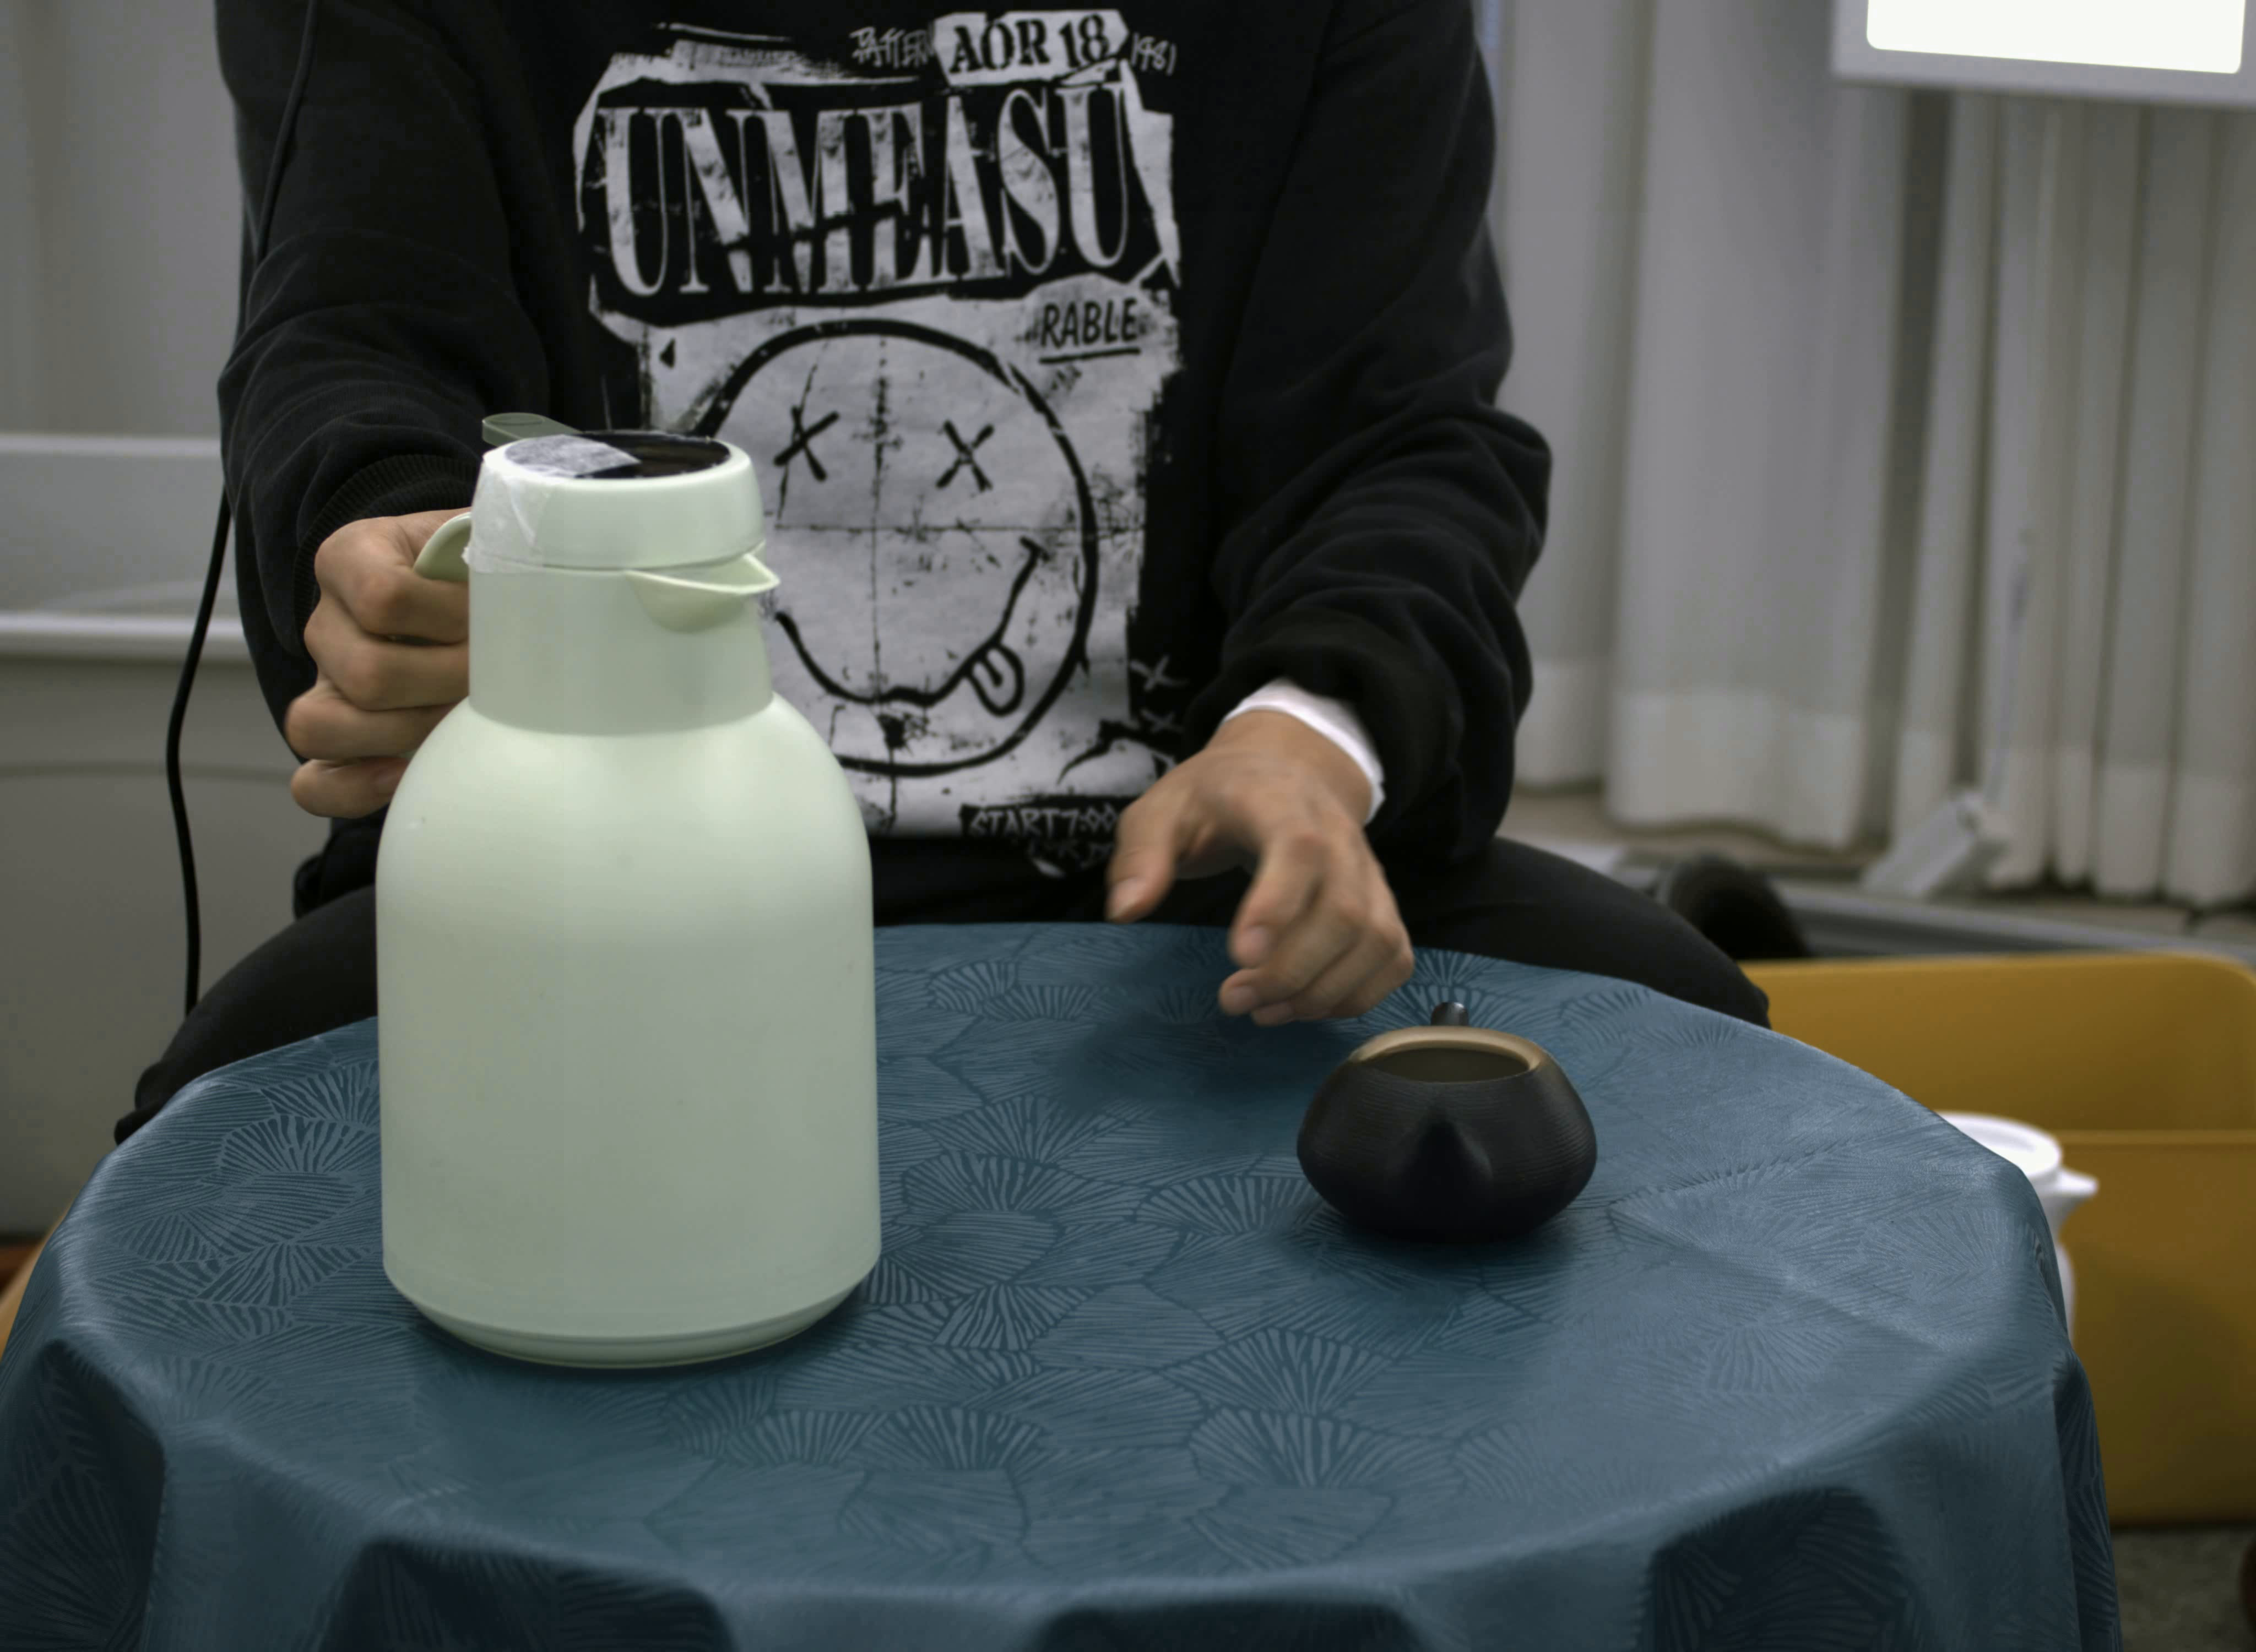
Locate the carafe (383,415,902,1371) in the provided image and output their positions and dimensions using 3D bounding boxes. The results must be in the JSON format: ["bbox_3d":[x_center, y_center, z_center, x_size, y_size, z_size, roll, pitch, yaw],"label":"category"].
[{"bbox_3d":[-0.150,0.013,1.507,0.145,0.259,0.184,-14,18,-35],"label":"carafe"}]

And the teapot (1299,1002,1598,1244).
[{"bbox_3d":[0.097,0.093,1.594,0.090,0.053,0.132,3,16,4],"label":"teapot"}]
